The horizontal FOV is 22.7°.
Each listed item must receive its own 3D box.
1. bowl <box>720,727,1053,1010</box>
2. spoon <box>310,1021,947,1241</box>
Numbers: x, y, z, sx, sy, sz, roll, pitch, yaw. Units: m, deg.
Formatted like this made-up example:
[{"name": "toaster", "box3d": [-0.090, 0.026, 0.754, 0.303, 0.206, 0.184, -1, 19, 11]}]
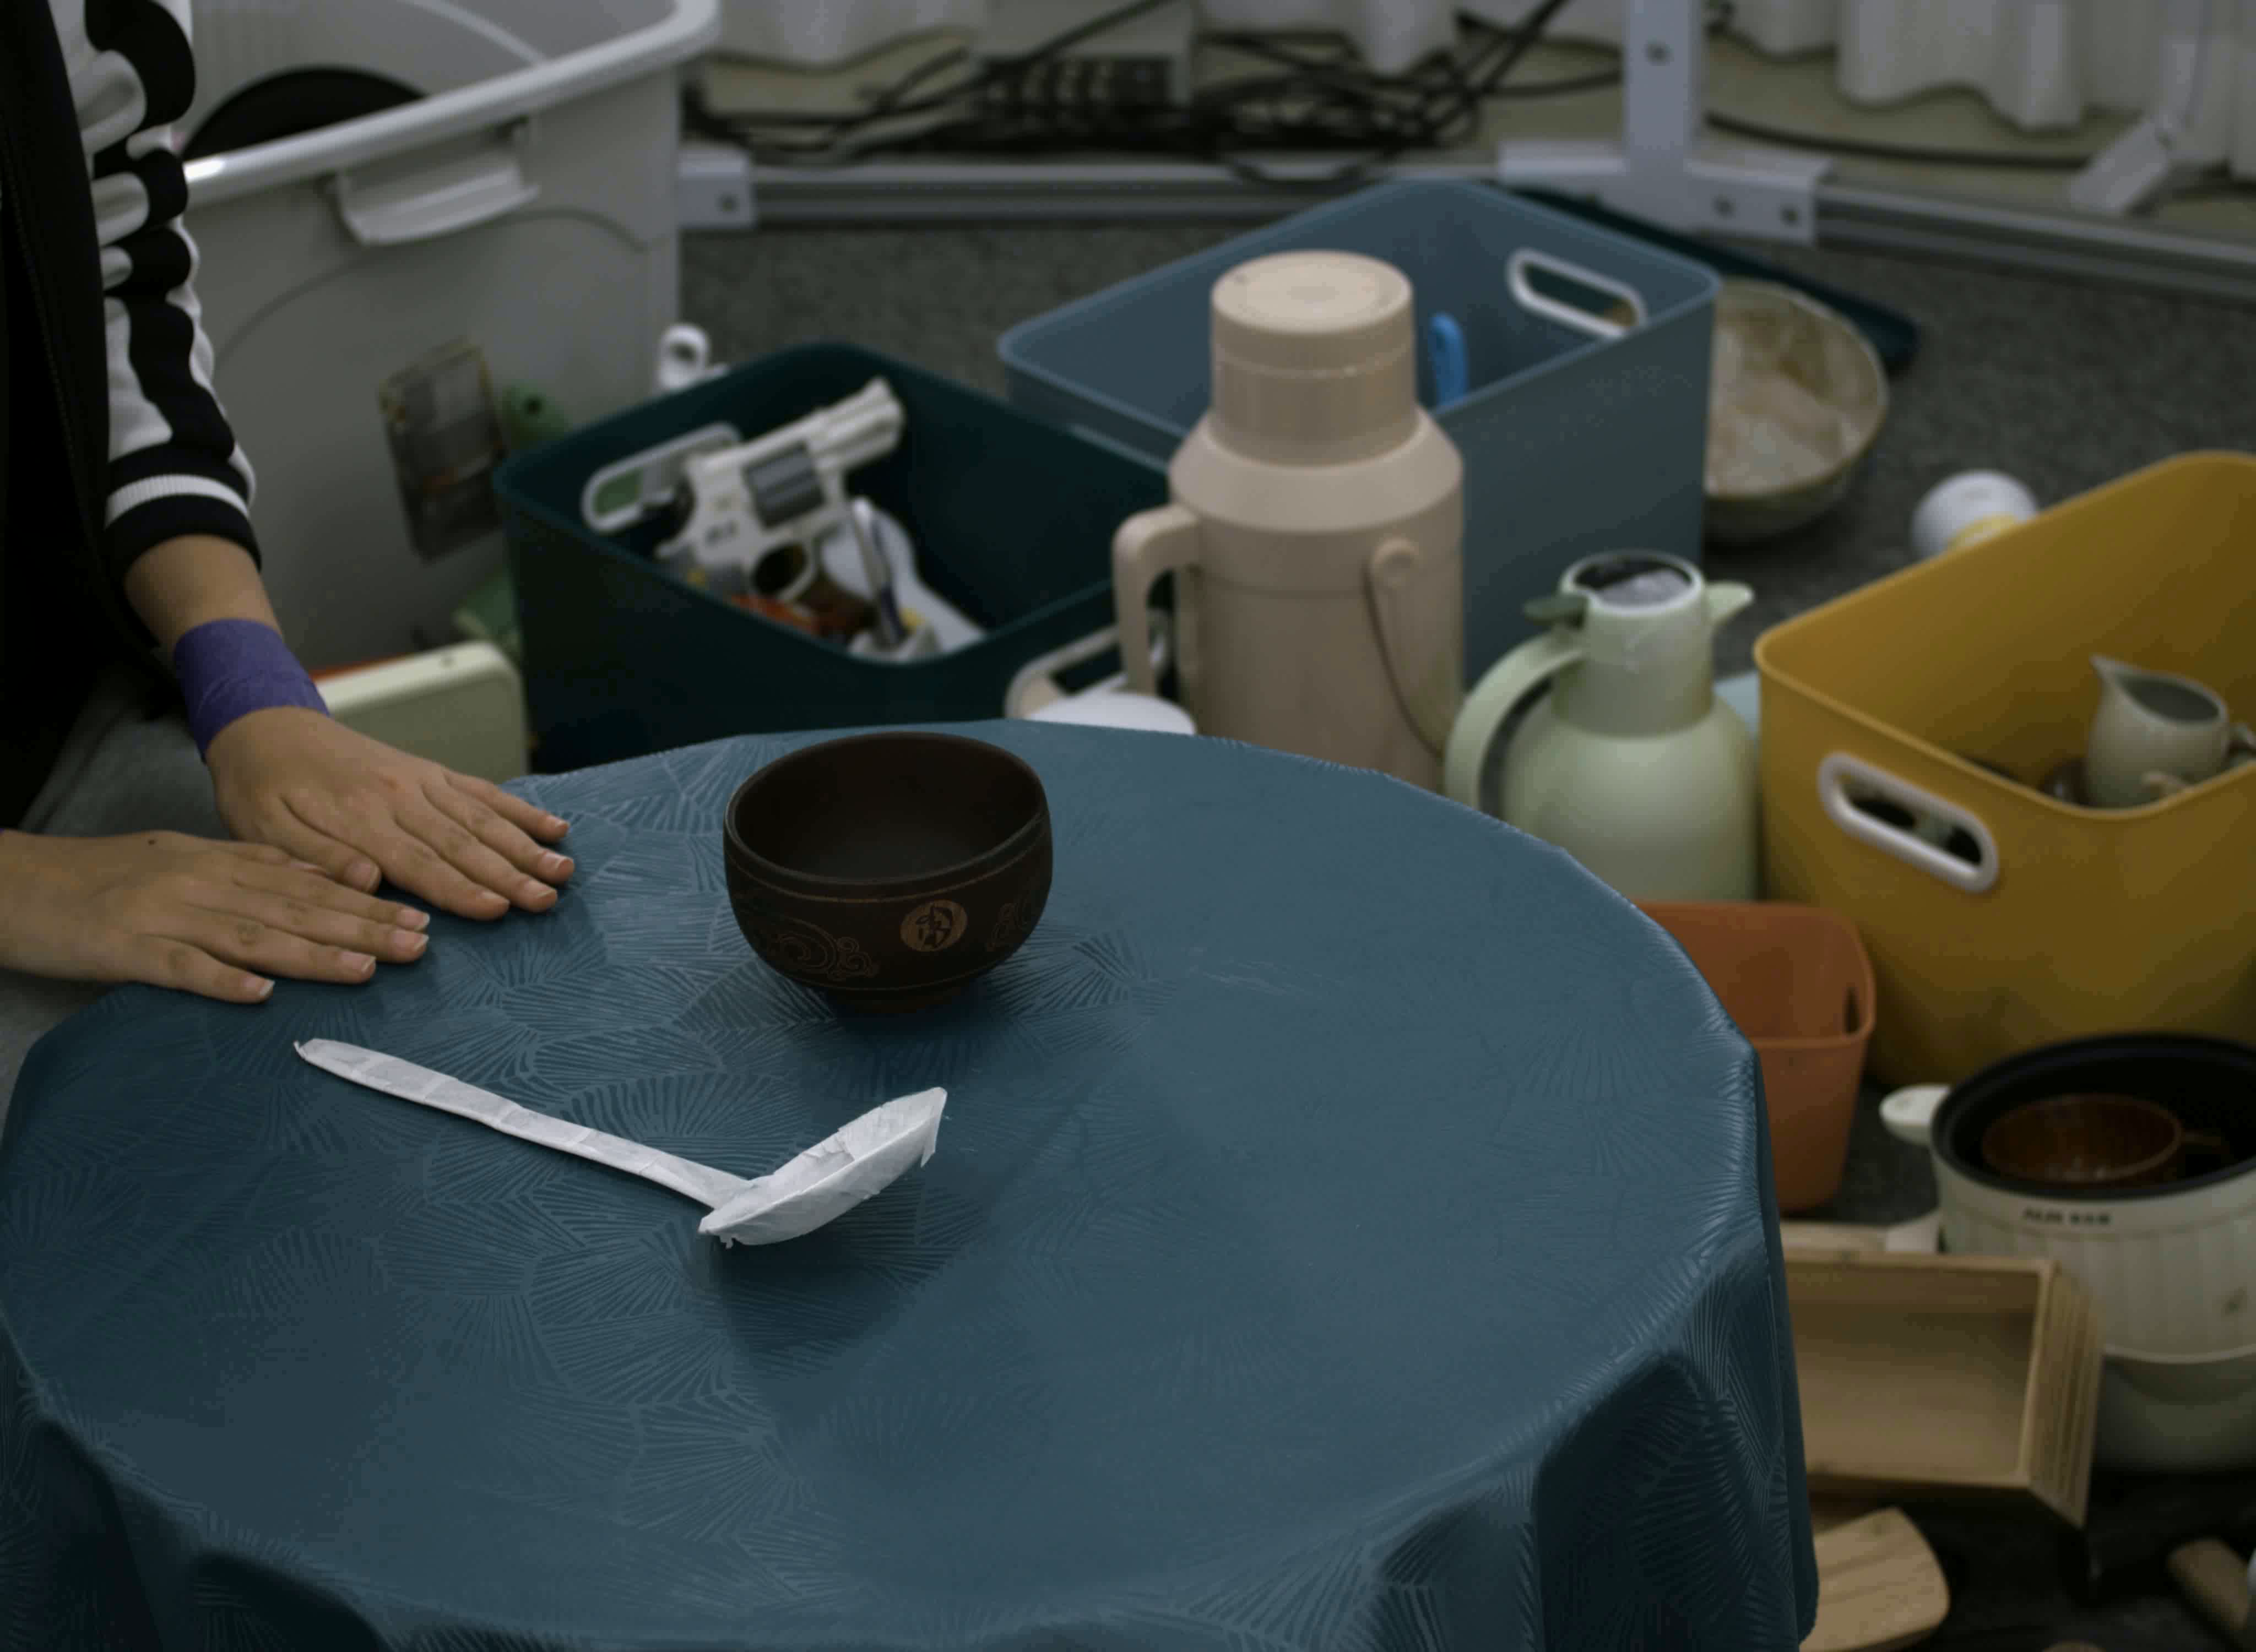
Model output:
[{"name": "bowl", "box3d": [-0.084, 0.021, 1.985, 0.117, 0.069, 0.120, -2, 27, 1]}, {"name": "spoon", "box3d": [-0.175, 0.083, 1.891, 0.276, 0.059, 0.102, 18, 30, 35]}]
